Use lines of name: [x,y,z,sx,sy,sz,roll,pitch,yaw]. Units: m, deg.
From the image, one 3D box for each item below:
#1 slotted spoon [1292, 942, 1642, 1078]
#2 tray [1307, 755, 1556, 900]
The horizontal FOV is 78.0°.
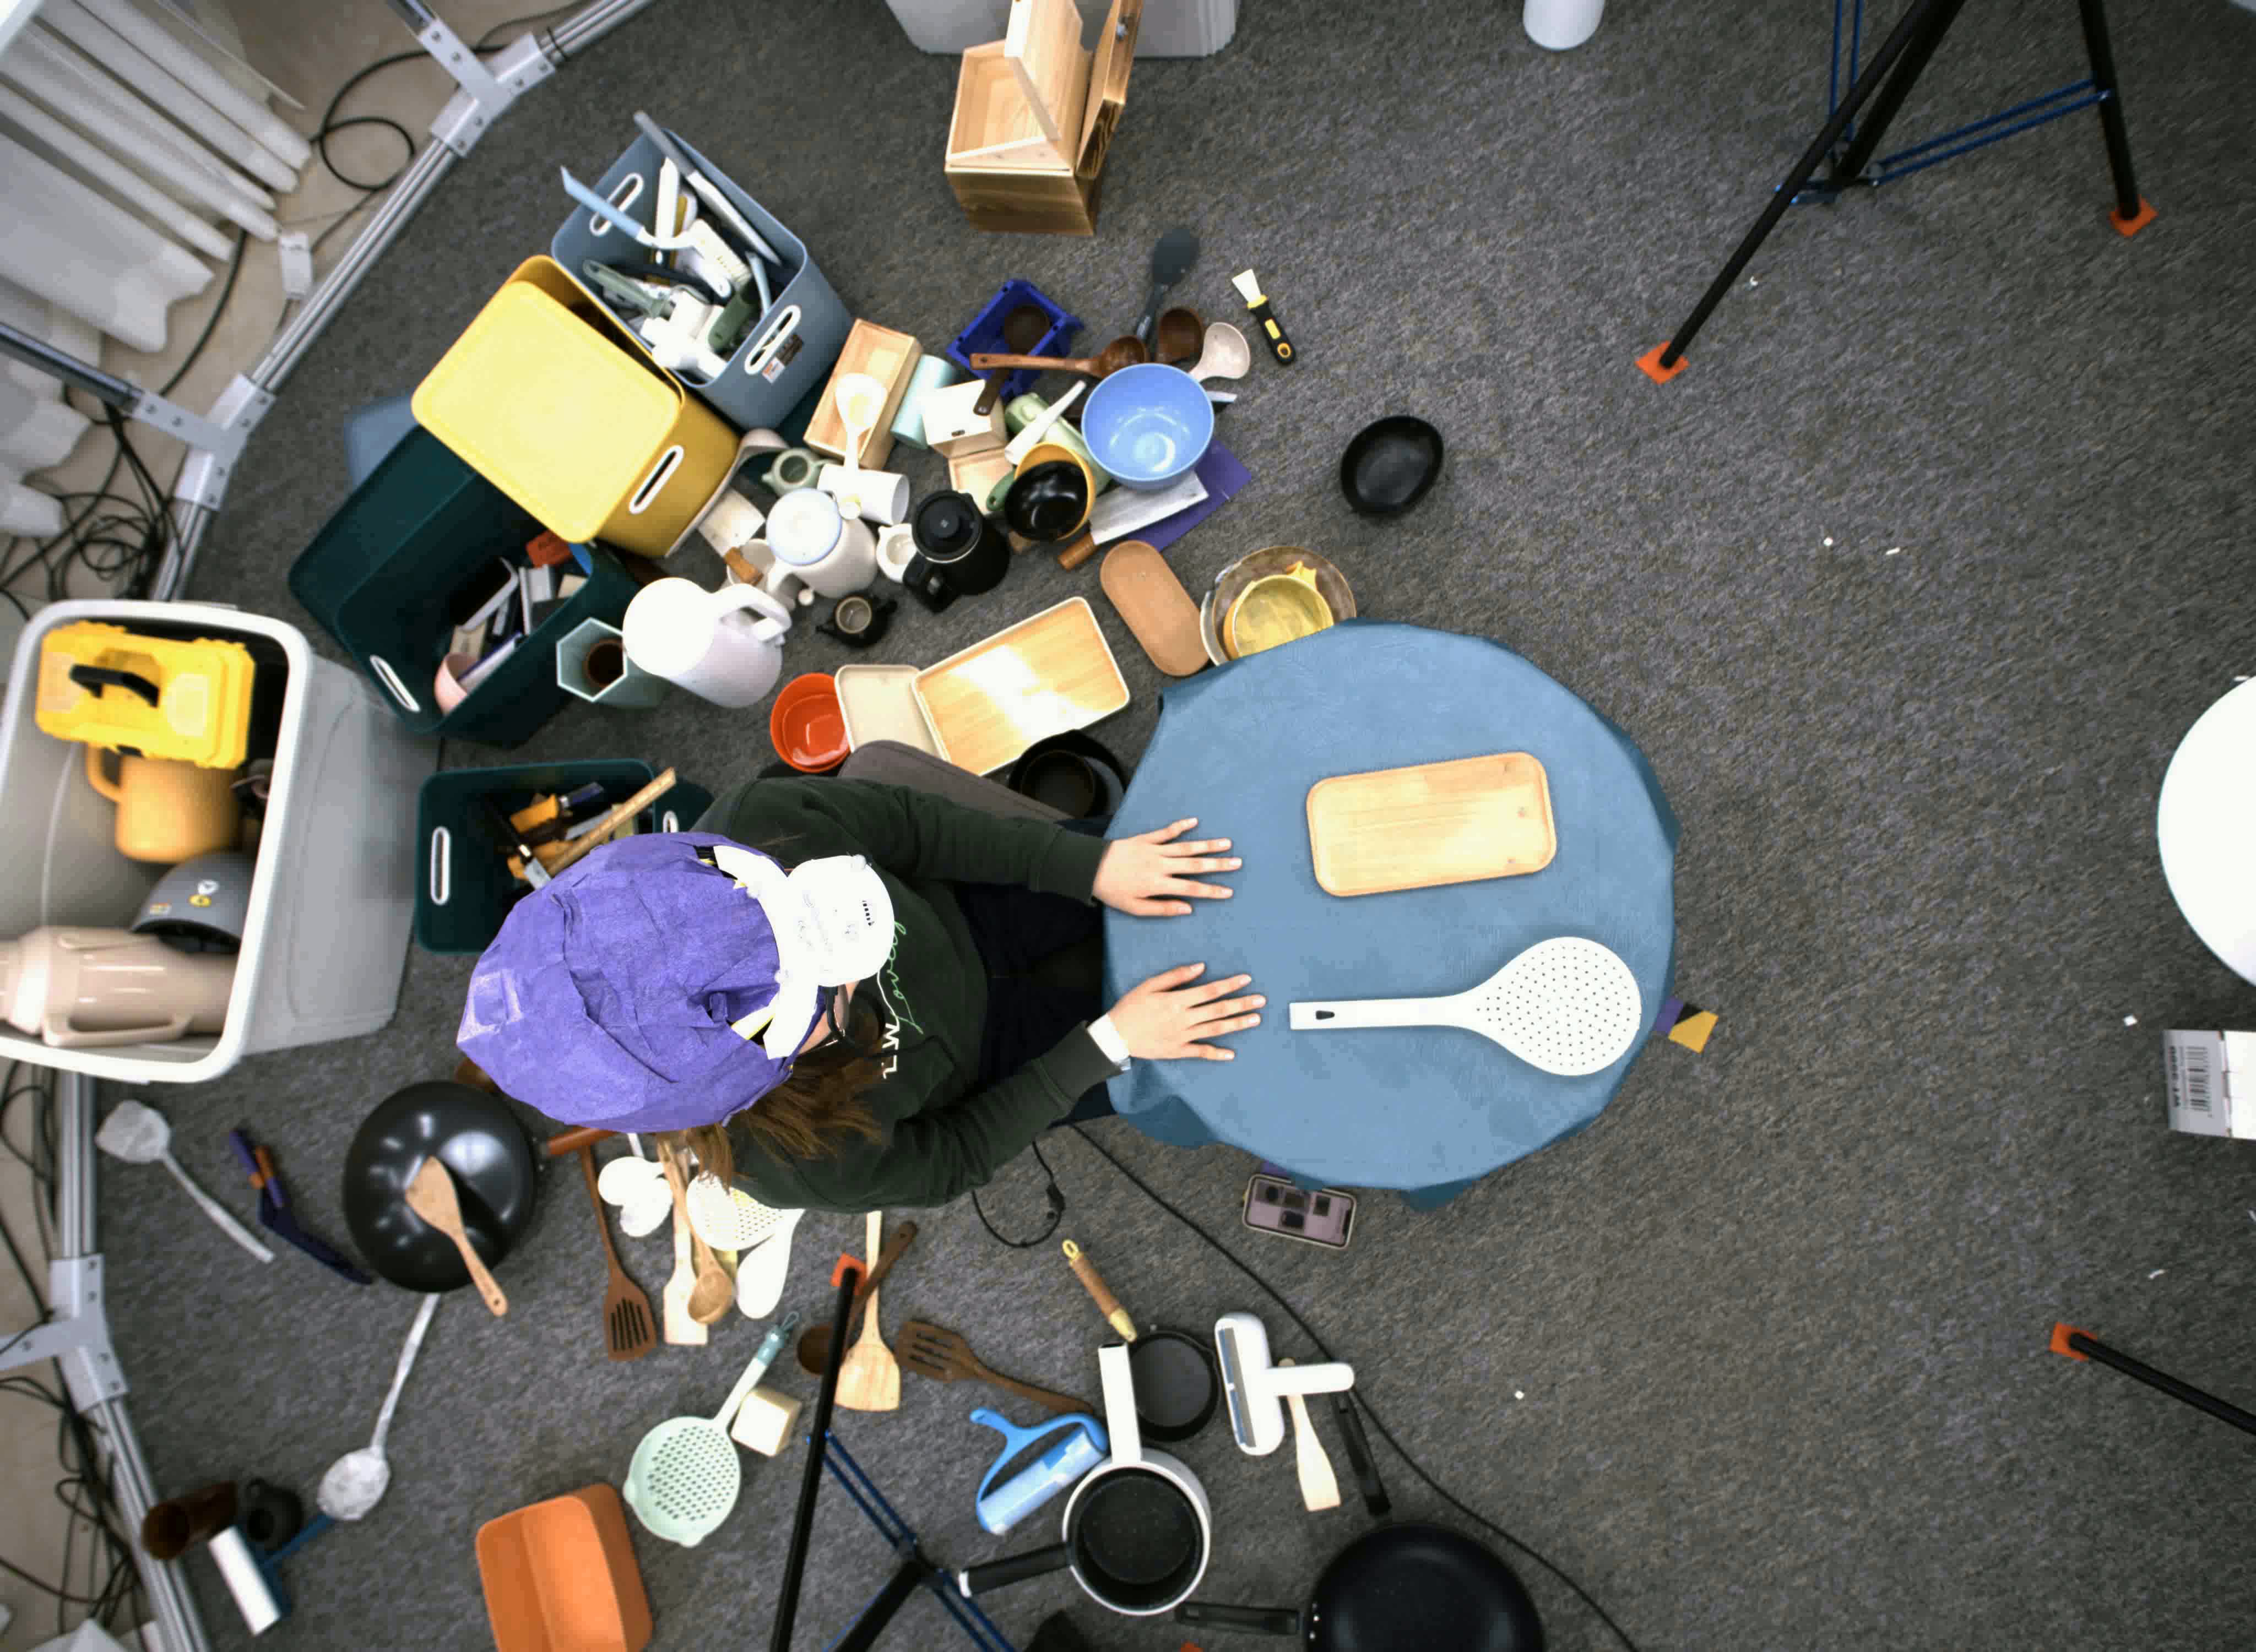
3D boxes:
slotted spoon: [0.343,0.190,1.420,0.351,0.046,0.135,-3,83,11]
tray: [0.318,0.001,1.452,0.252,0.023,0.129,-8,83,11]
